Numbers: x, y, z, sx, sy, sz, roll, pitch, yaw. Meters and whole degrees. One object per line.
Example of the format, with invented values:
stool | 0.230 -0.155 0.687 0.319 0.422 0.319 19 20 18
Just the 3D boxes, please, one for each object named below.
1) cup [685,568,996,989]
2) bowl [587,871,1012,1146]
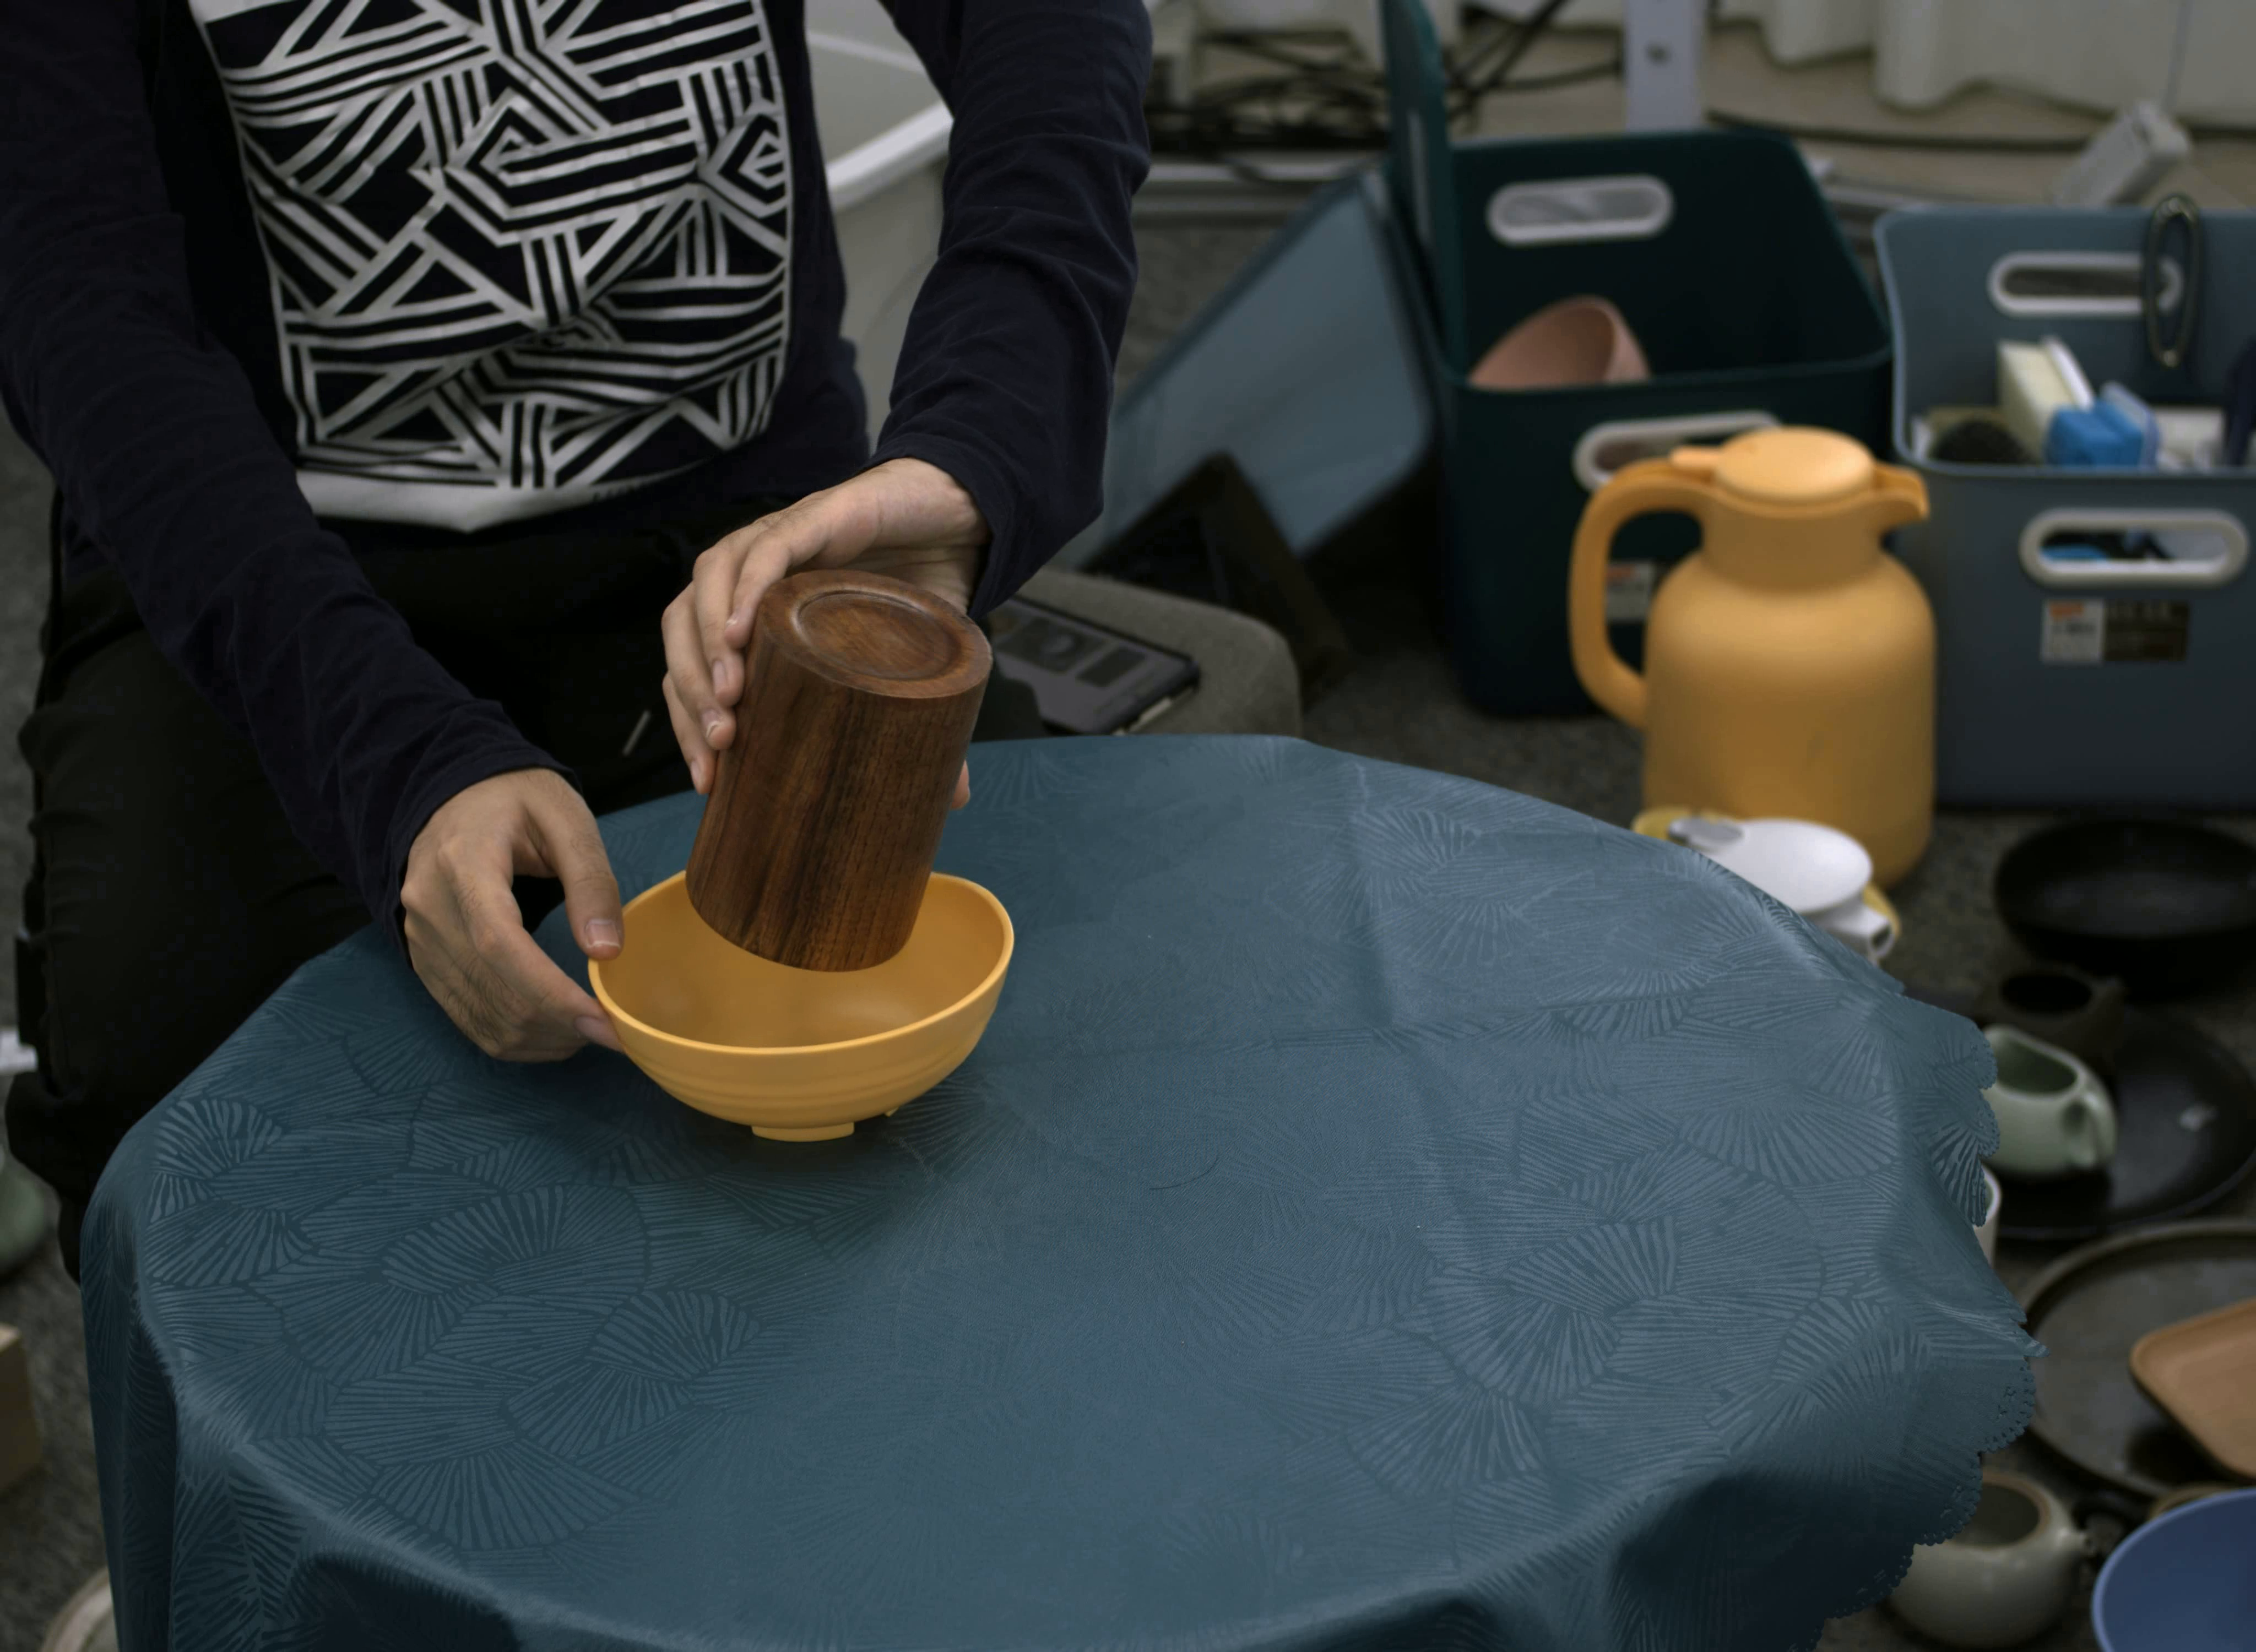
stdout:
cup | -0.095 -0.015 1.875 0.087 0.117 0.089 14 30 -8
bowl | -0.110 0.068 1.912 0.144 0.059 0.147 -2 26 1
